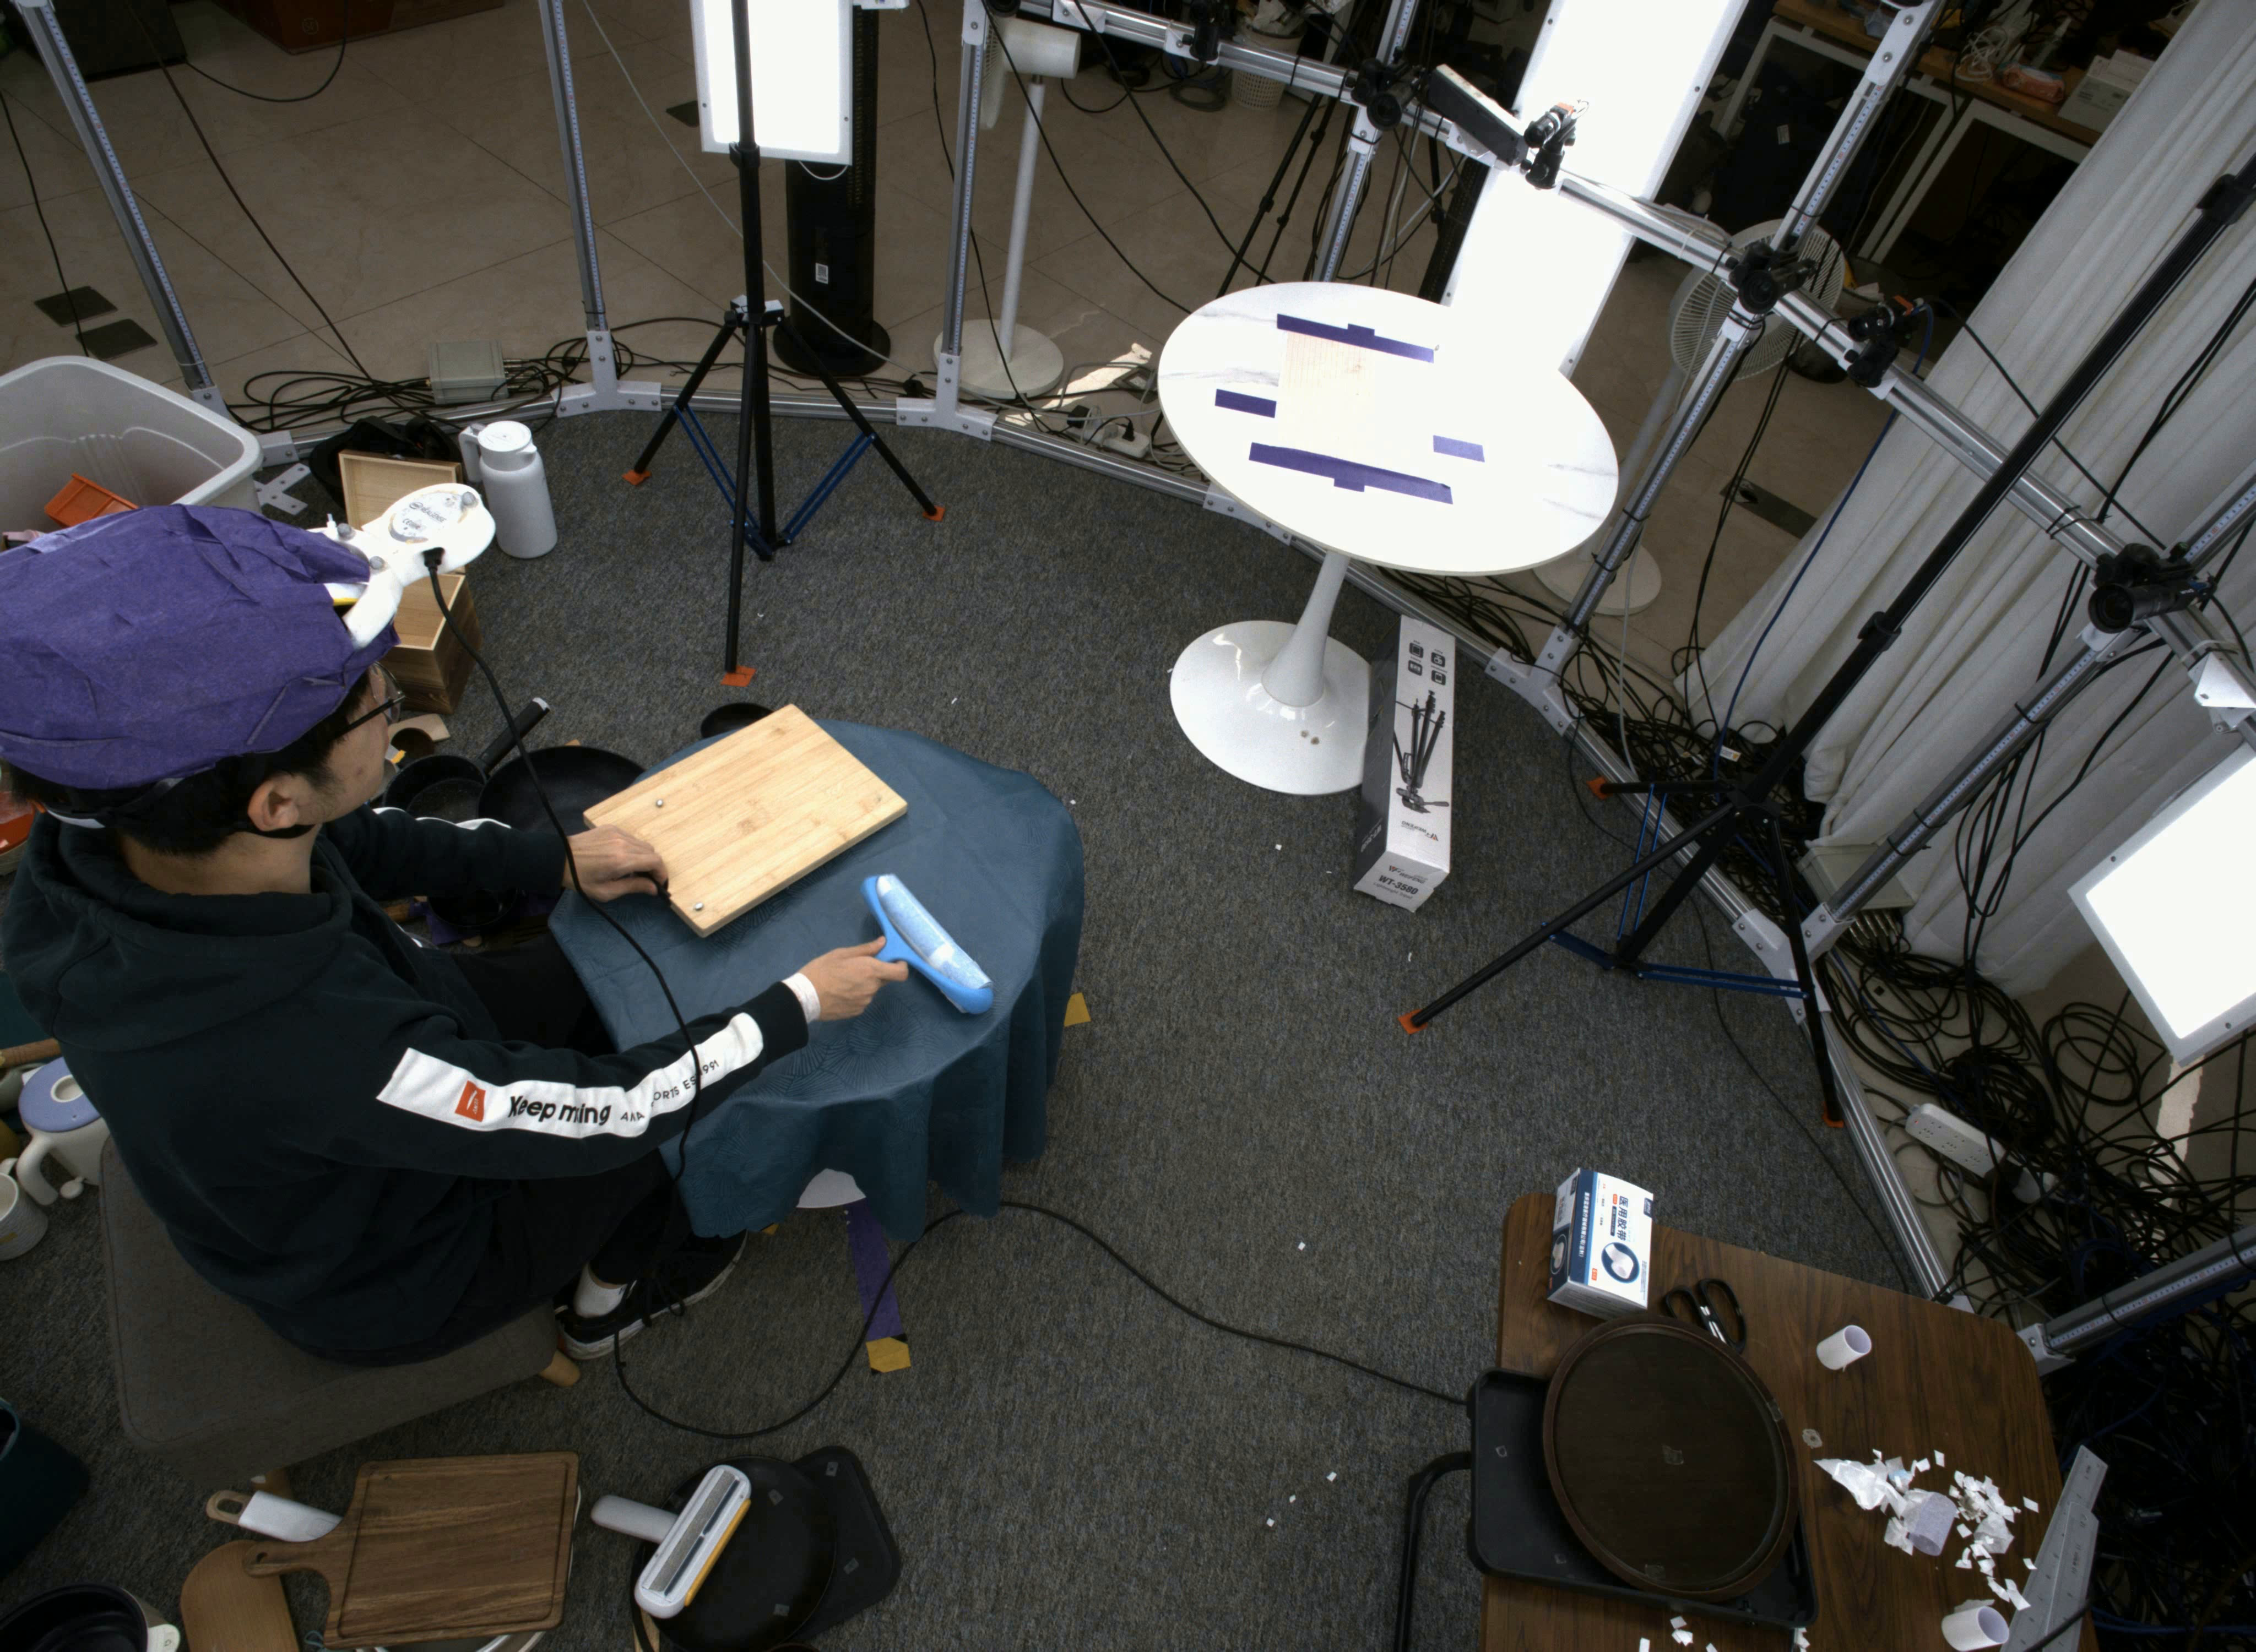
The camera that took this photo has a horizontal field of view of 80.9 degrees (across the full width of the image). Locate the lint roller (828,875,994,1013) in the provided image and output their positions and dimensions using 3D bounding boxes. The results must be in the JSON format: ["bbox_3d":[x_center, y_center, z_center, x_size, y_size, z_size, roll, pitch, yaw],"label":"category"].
[{"bbox_3d":[-0.286,0.165,1.586,0.225,0.068,0.181,44,44,12],"label":"lint roller"}]

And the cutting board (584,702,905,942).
[{"bbox_3d":[-0.497,-0.018,1.692,0.245,0.024,0.349,39,49,15],"label":"cutting board"}]
